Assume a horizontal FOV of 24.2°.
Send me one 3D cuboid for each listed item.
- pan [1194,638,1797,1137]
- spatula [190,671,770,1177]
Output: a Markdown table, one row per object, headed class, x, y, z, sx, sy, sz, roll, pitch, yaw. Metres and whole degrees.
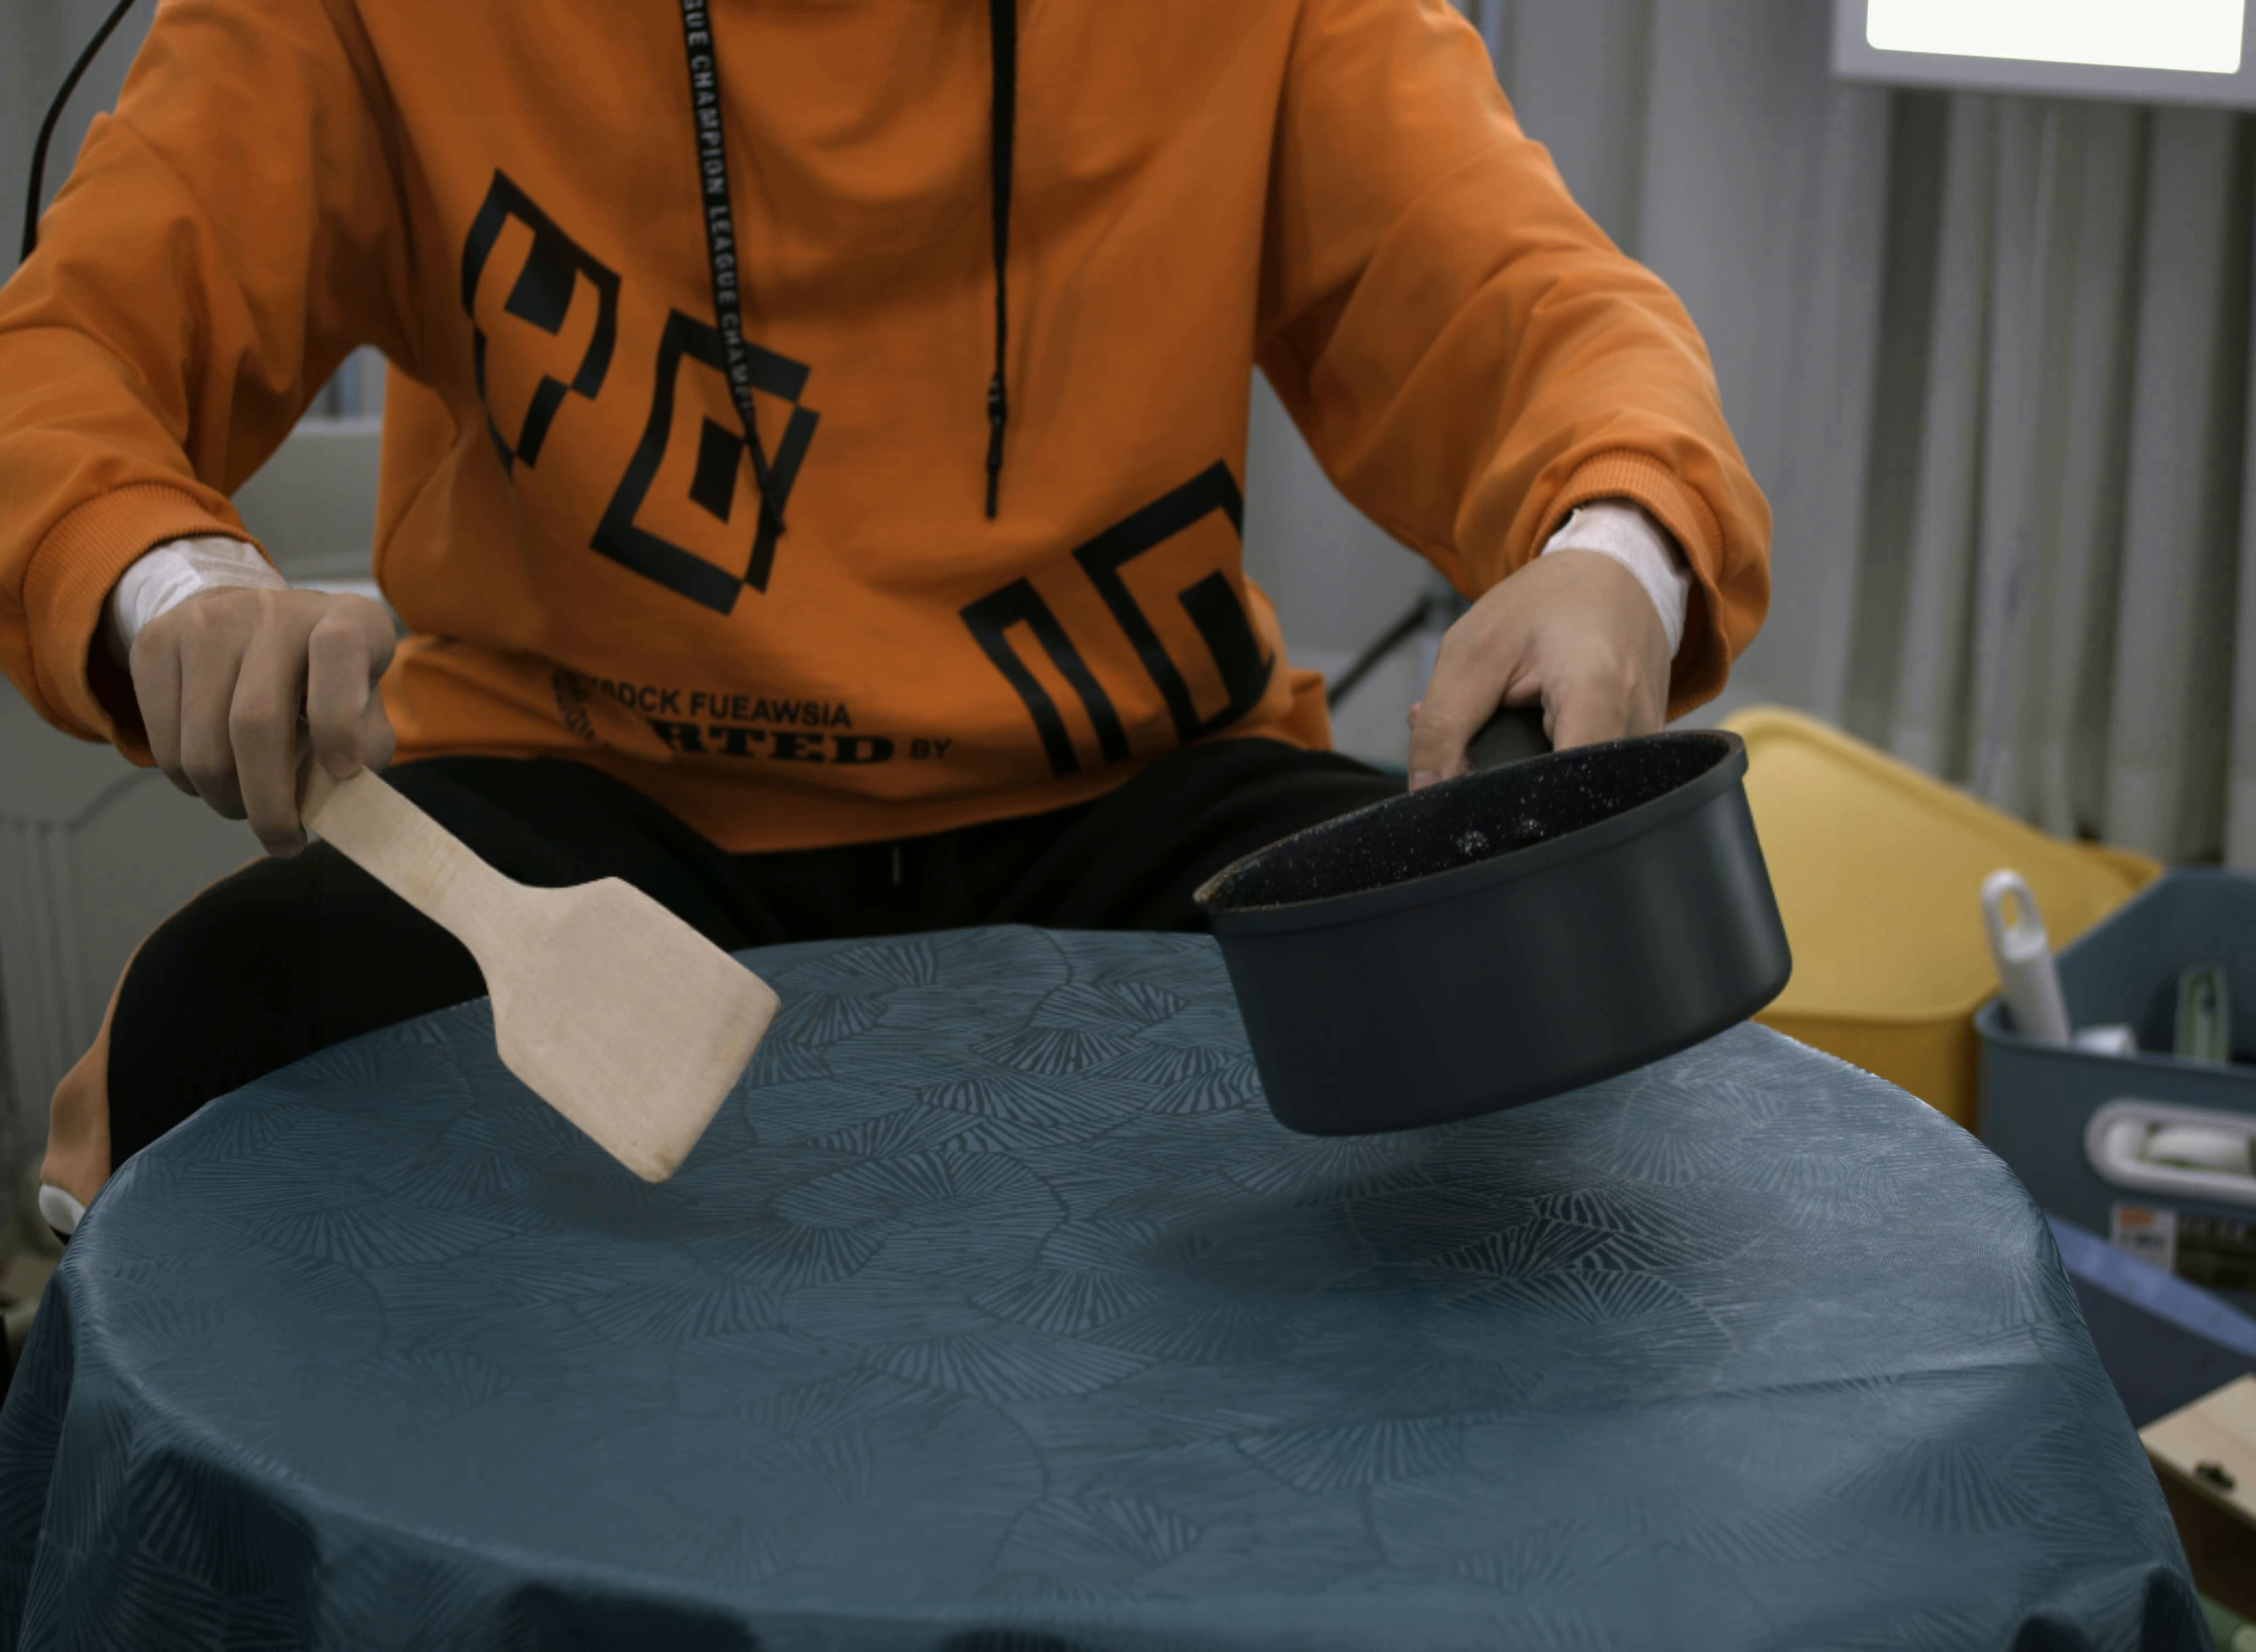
| class | x | y | z | sx | sy | sz | roll | pitch | yaw |
| --- | --- | --- | --- | --- | --- | --- | --- | --- | --- |
| pan | 0.124 | 0.013 | 1.649 | 0.171 | 0.087 | 0.328 | -14 | 10 | 12 |
| spatula | -0.215 | 0.016 | 1.656 | 0.289 | 0.072 | 0.011 | 33 | 2 | 40 |
